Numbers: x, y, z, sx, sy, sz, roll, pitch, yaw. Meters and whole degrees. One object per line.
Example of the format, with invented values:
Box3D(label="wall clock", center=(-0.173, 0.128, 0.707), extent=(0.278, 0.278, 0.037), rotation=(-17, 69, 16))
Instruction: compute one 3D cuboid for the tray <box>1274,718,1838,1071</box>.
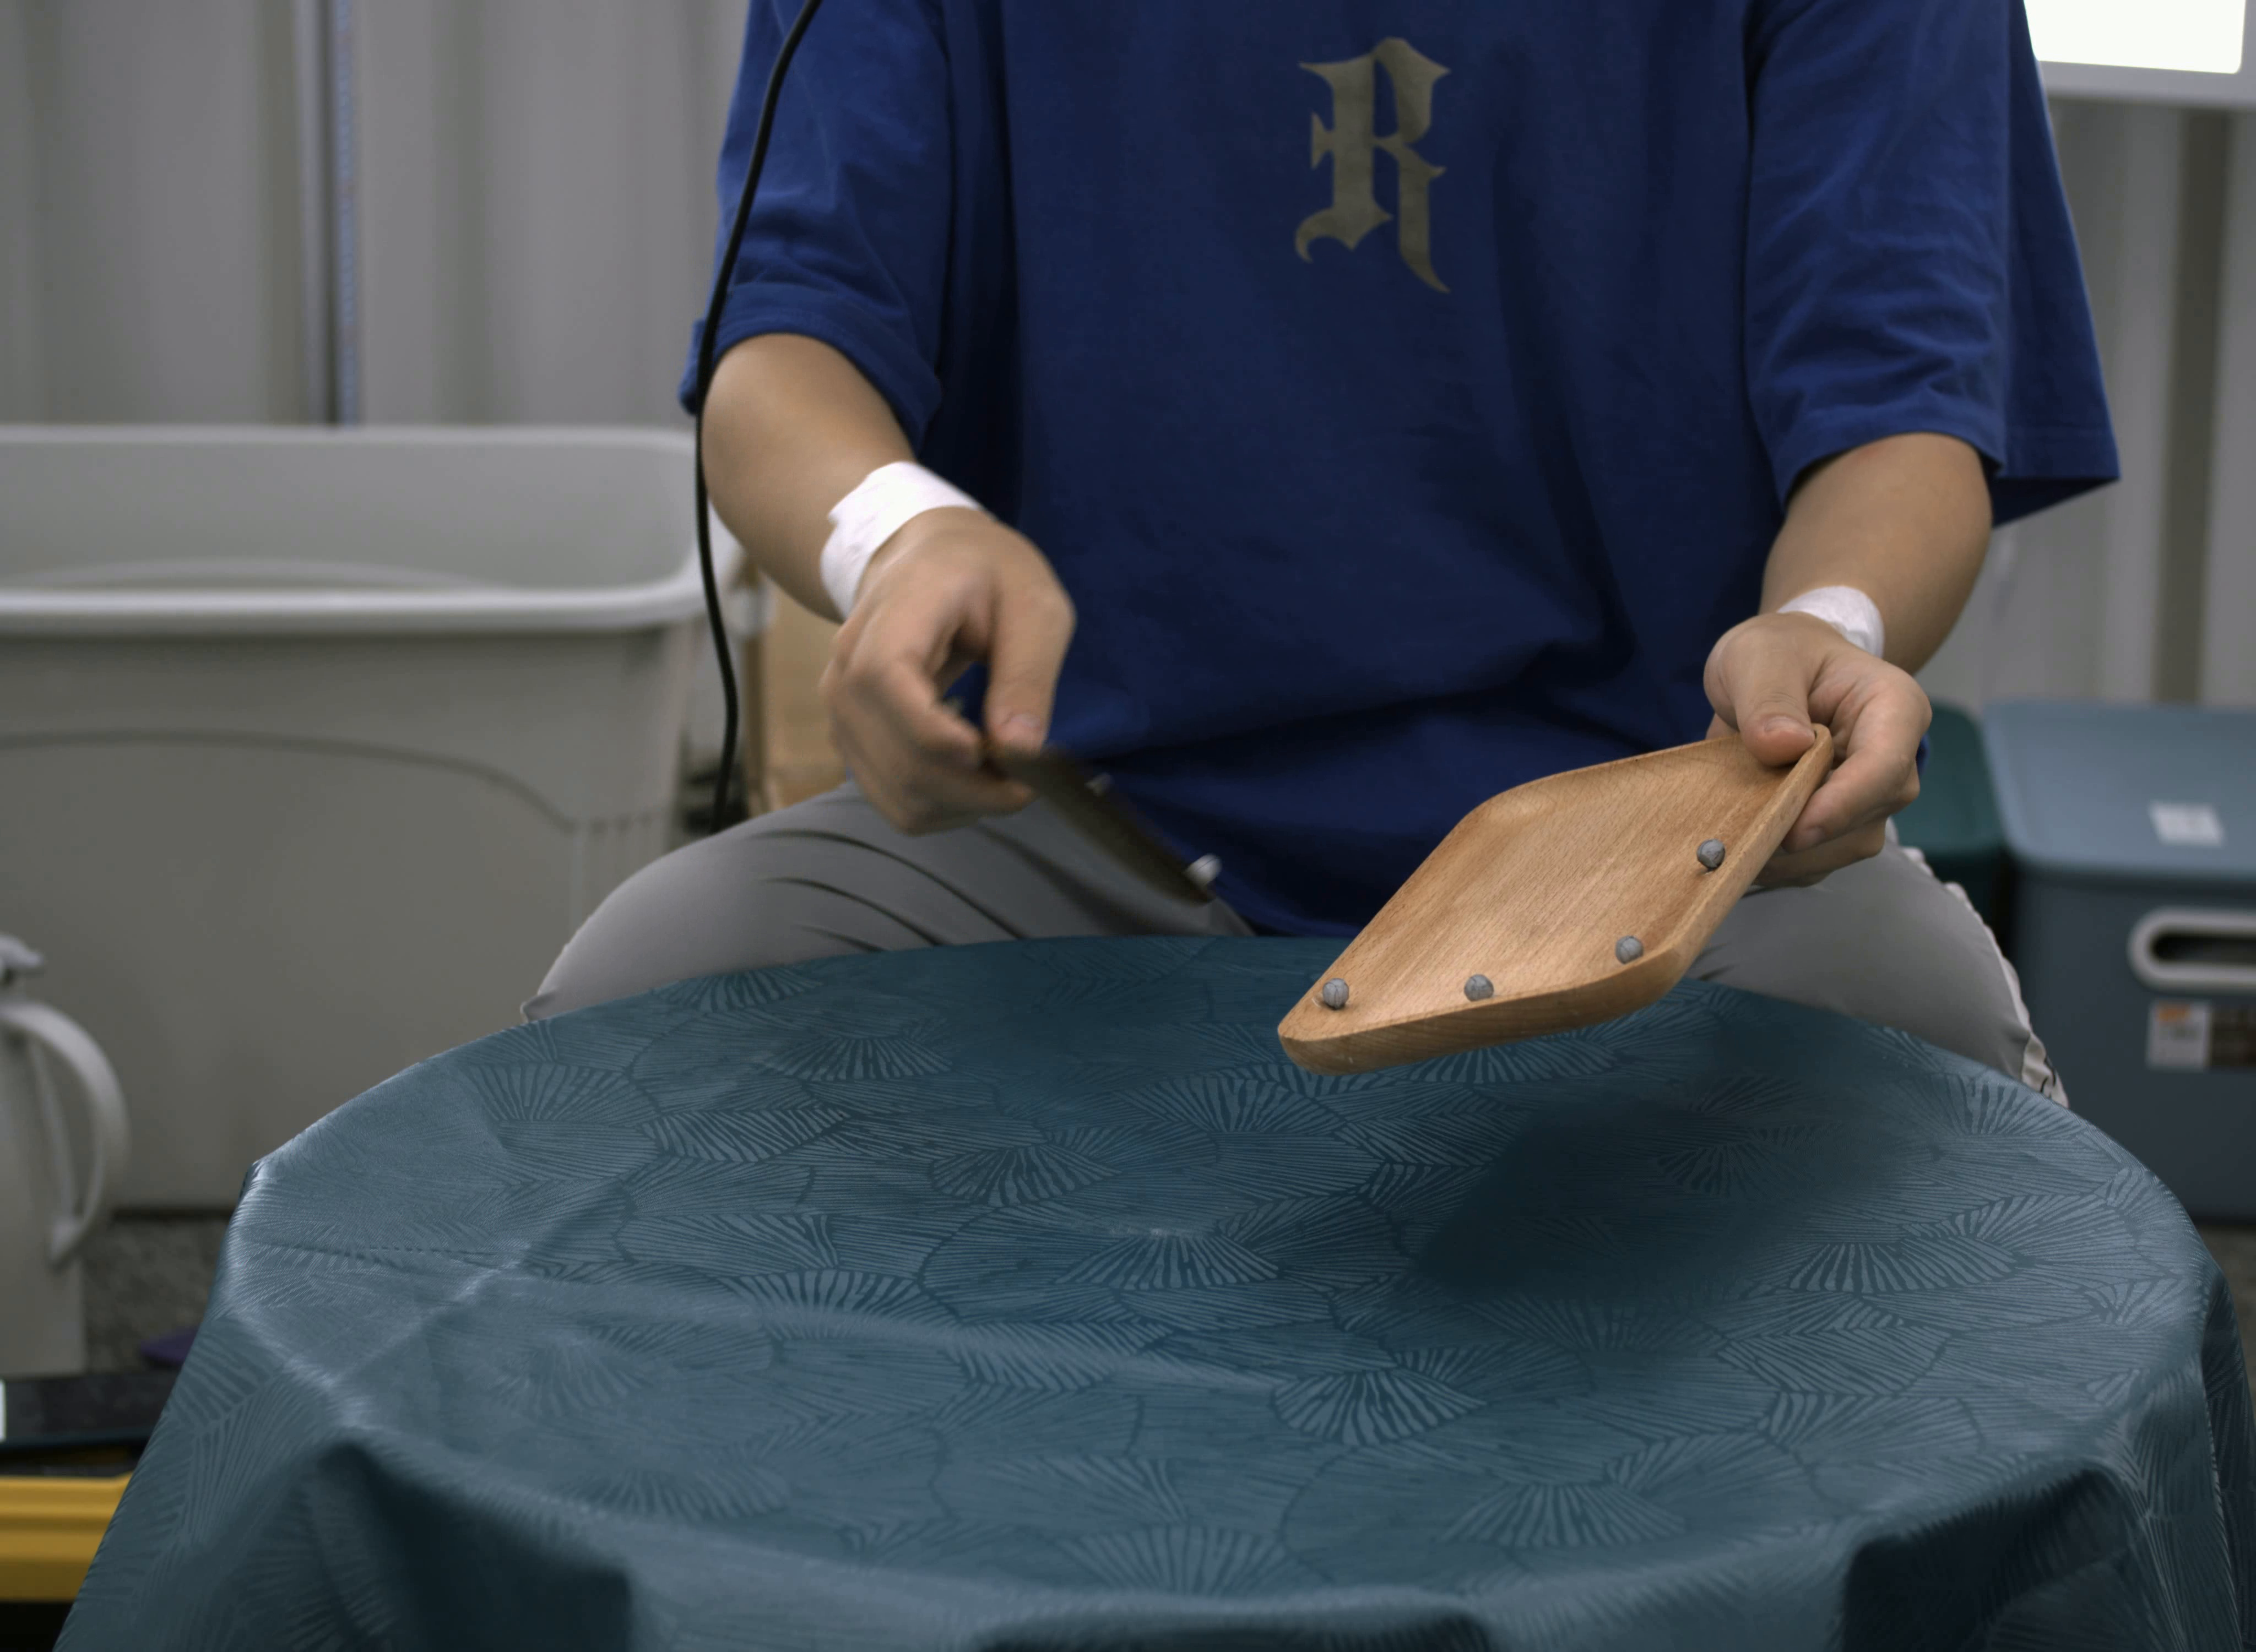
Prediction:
Box3D(label="tray", center=(0.135, 0.019, 1.613), extent=(0.129, 0.023, 0.250), rotation=(-10, 14, 24))

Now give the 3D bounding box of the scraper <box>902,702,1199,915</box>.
Box3D(label="scraper", center=(-0.036, -0.013, 1.675), extent=(0.076, 0.011, 0.209), rotation=(41, -3, -21))
